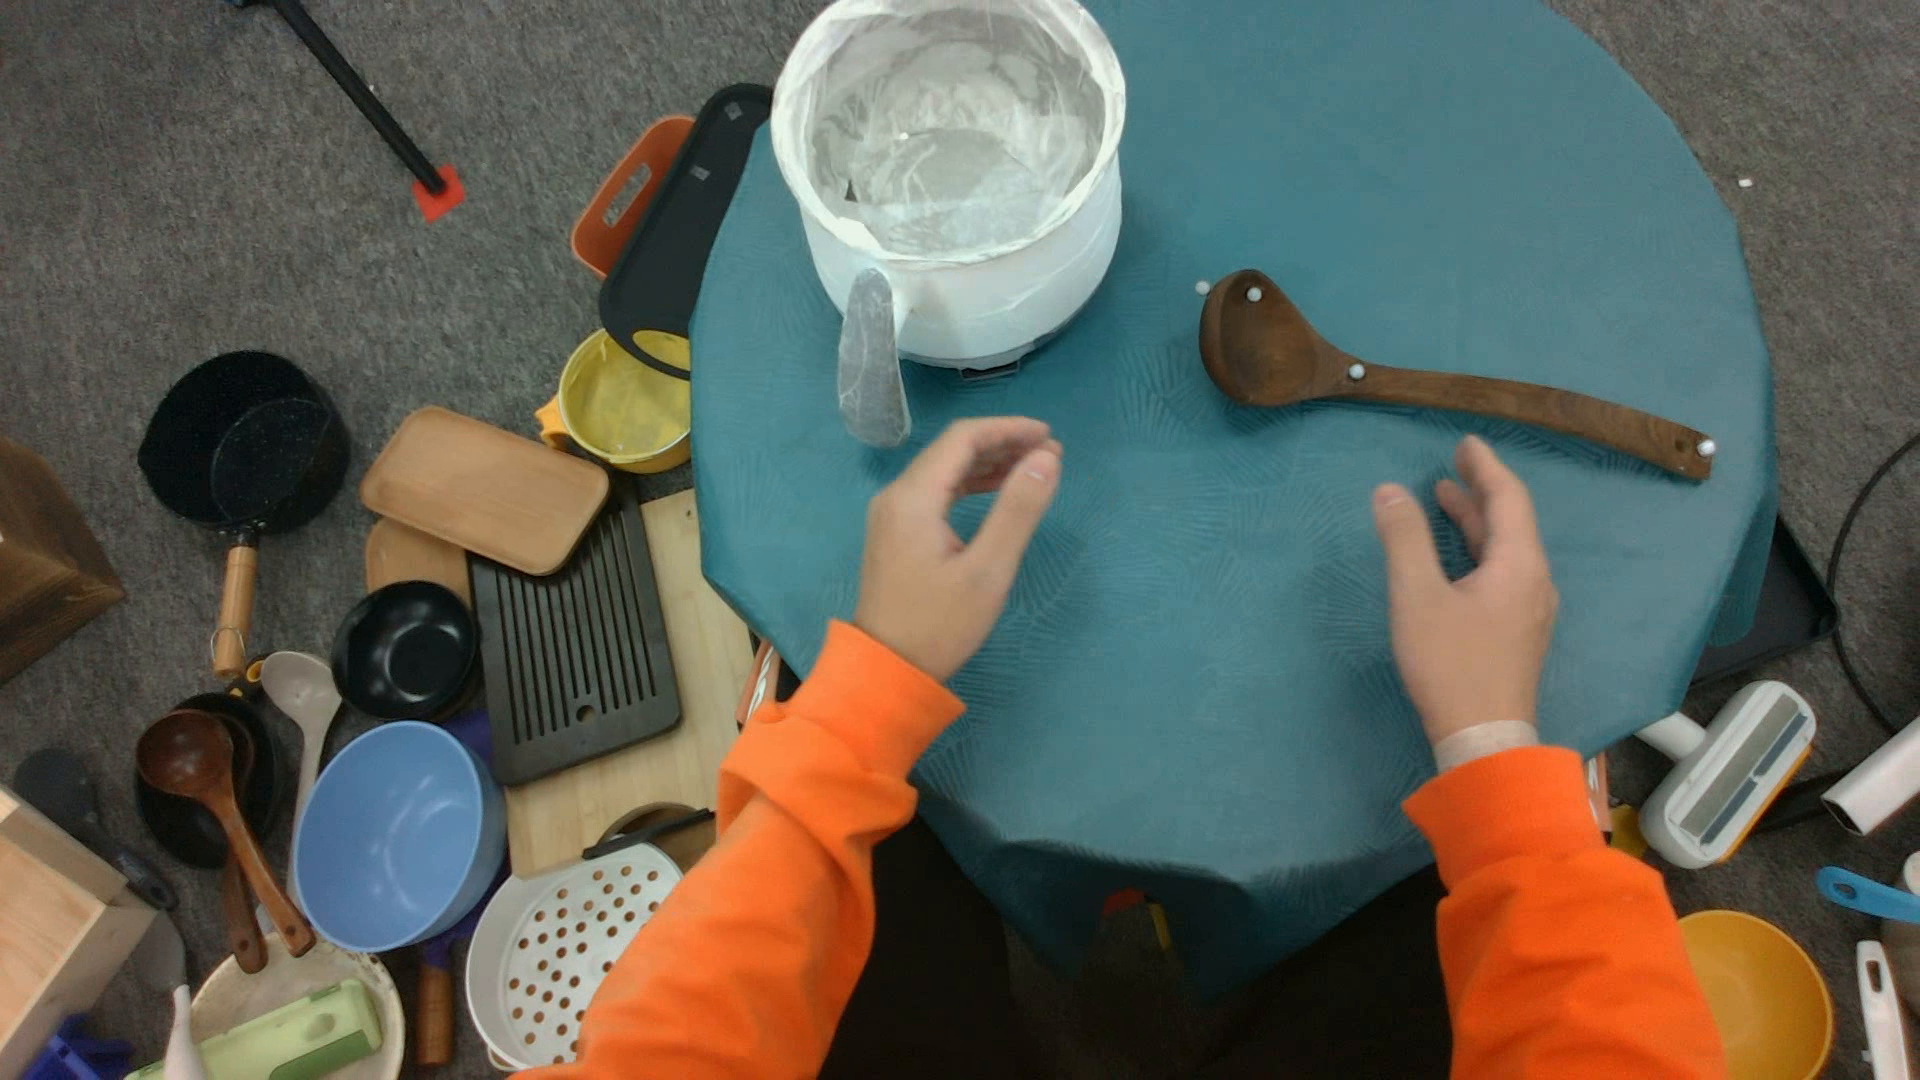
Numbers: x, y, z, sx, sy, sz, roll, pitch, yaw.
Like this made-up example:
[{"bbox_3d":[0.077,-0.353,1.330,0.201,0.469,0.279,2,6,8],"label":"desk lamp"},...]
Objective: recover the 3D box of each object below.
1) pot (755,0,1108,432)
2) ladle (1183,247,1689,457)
[{"bbox_3d":[-0.019,-0.178,0.739,0.178,0.136,0.234,16,73,10],"label":"pot"},{"bbox_3d":[0.253,-0.094,0.725,0.274,0.071,0.076,13,75,10],"label":"ladle"}]
